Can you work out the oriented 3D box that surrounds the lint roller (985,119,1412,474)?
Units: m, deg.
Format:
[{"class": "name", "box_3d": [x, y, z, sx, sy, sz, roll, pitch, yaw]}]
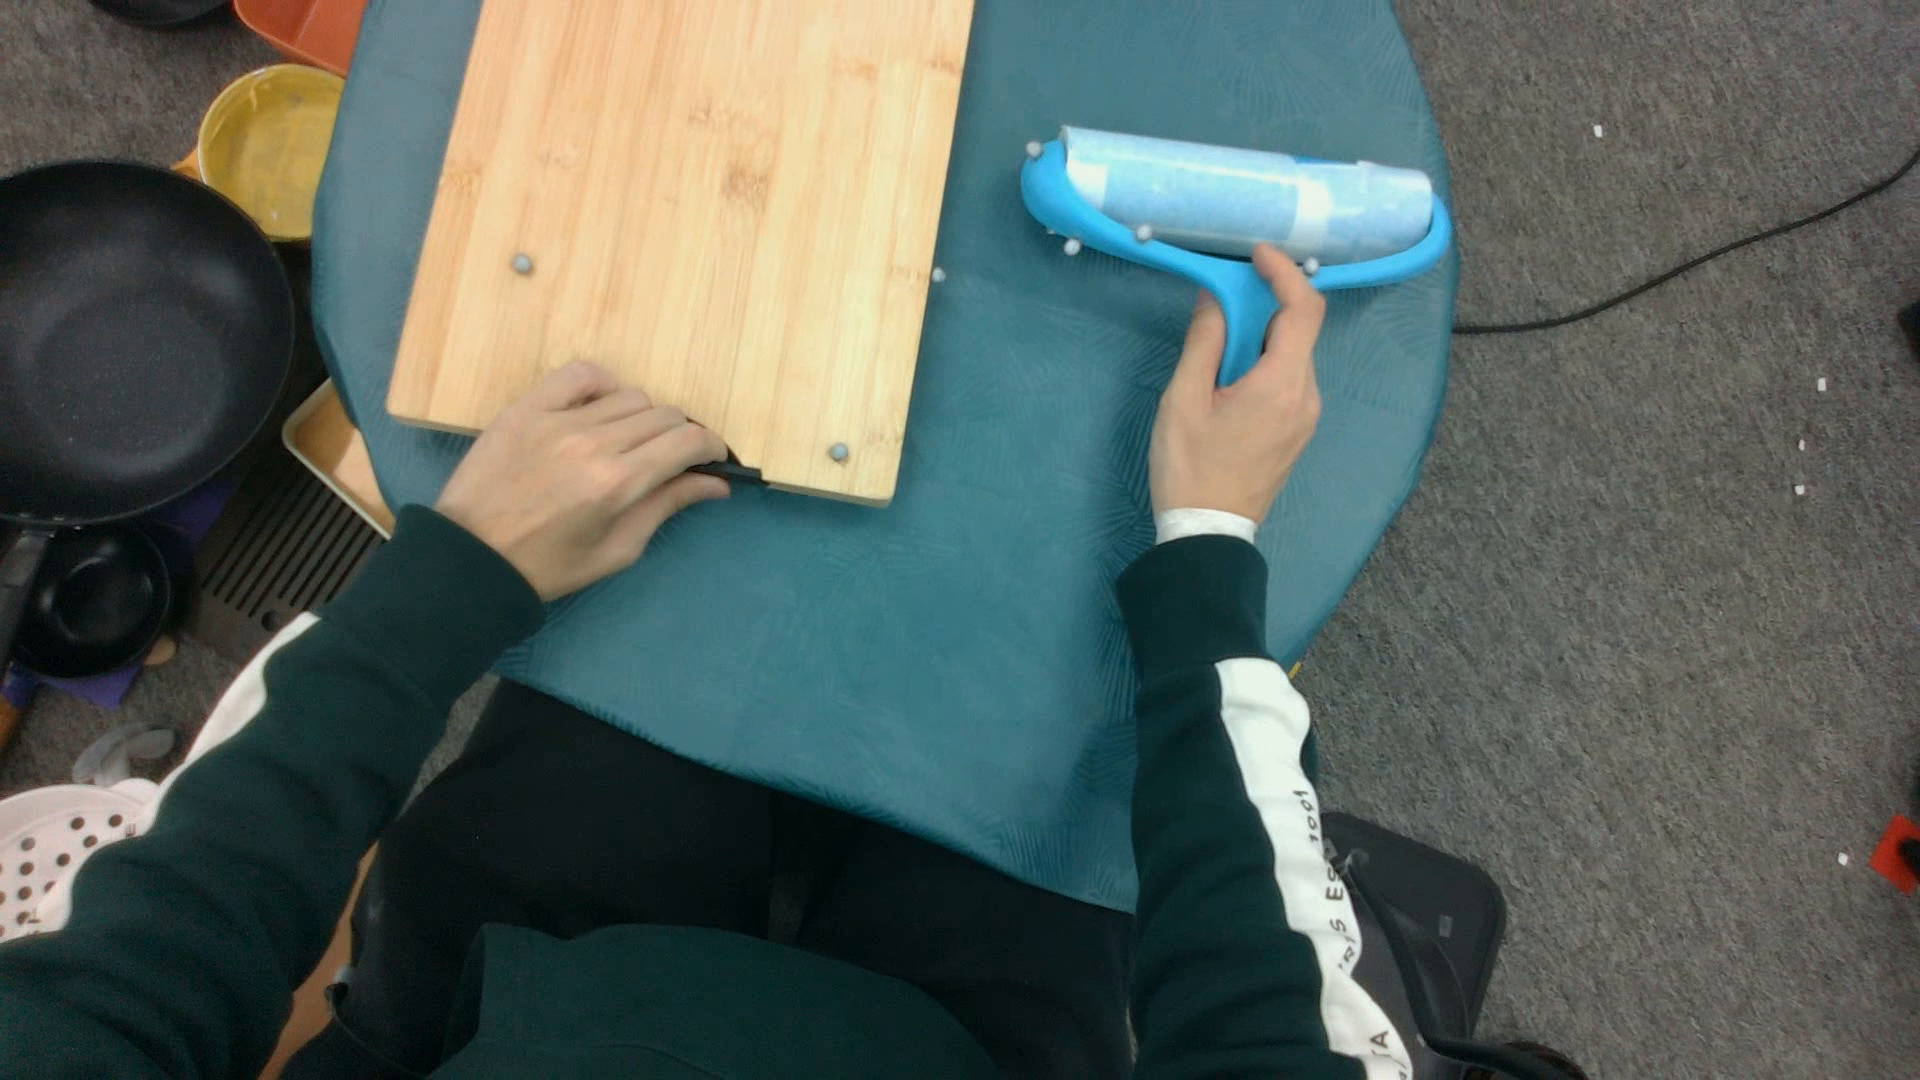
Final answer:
[{"class": "lint roller", "box_3d": [0.128, -0.128, 0.718, 0.229, 0.068, 0.180, 0, 81, -10]}]

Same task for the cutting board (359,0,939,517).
[{"class": "cutting board", "box_3d": [-0.145, -0.196, 0.703, 0.251, 0.023, 0.349, 7, 79, -7]}]
